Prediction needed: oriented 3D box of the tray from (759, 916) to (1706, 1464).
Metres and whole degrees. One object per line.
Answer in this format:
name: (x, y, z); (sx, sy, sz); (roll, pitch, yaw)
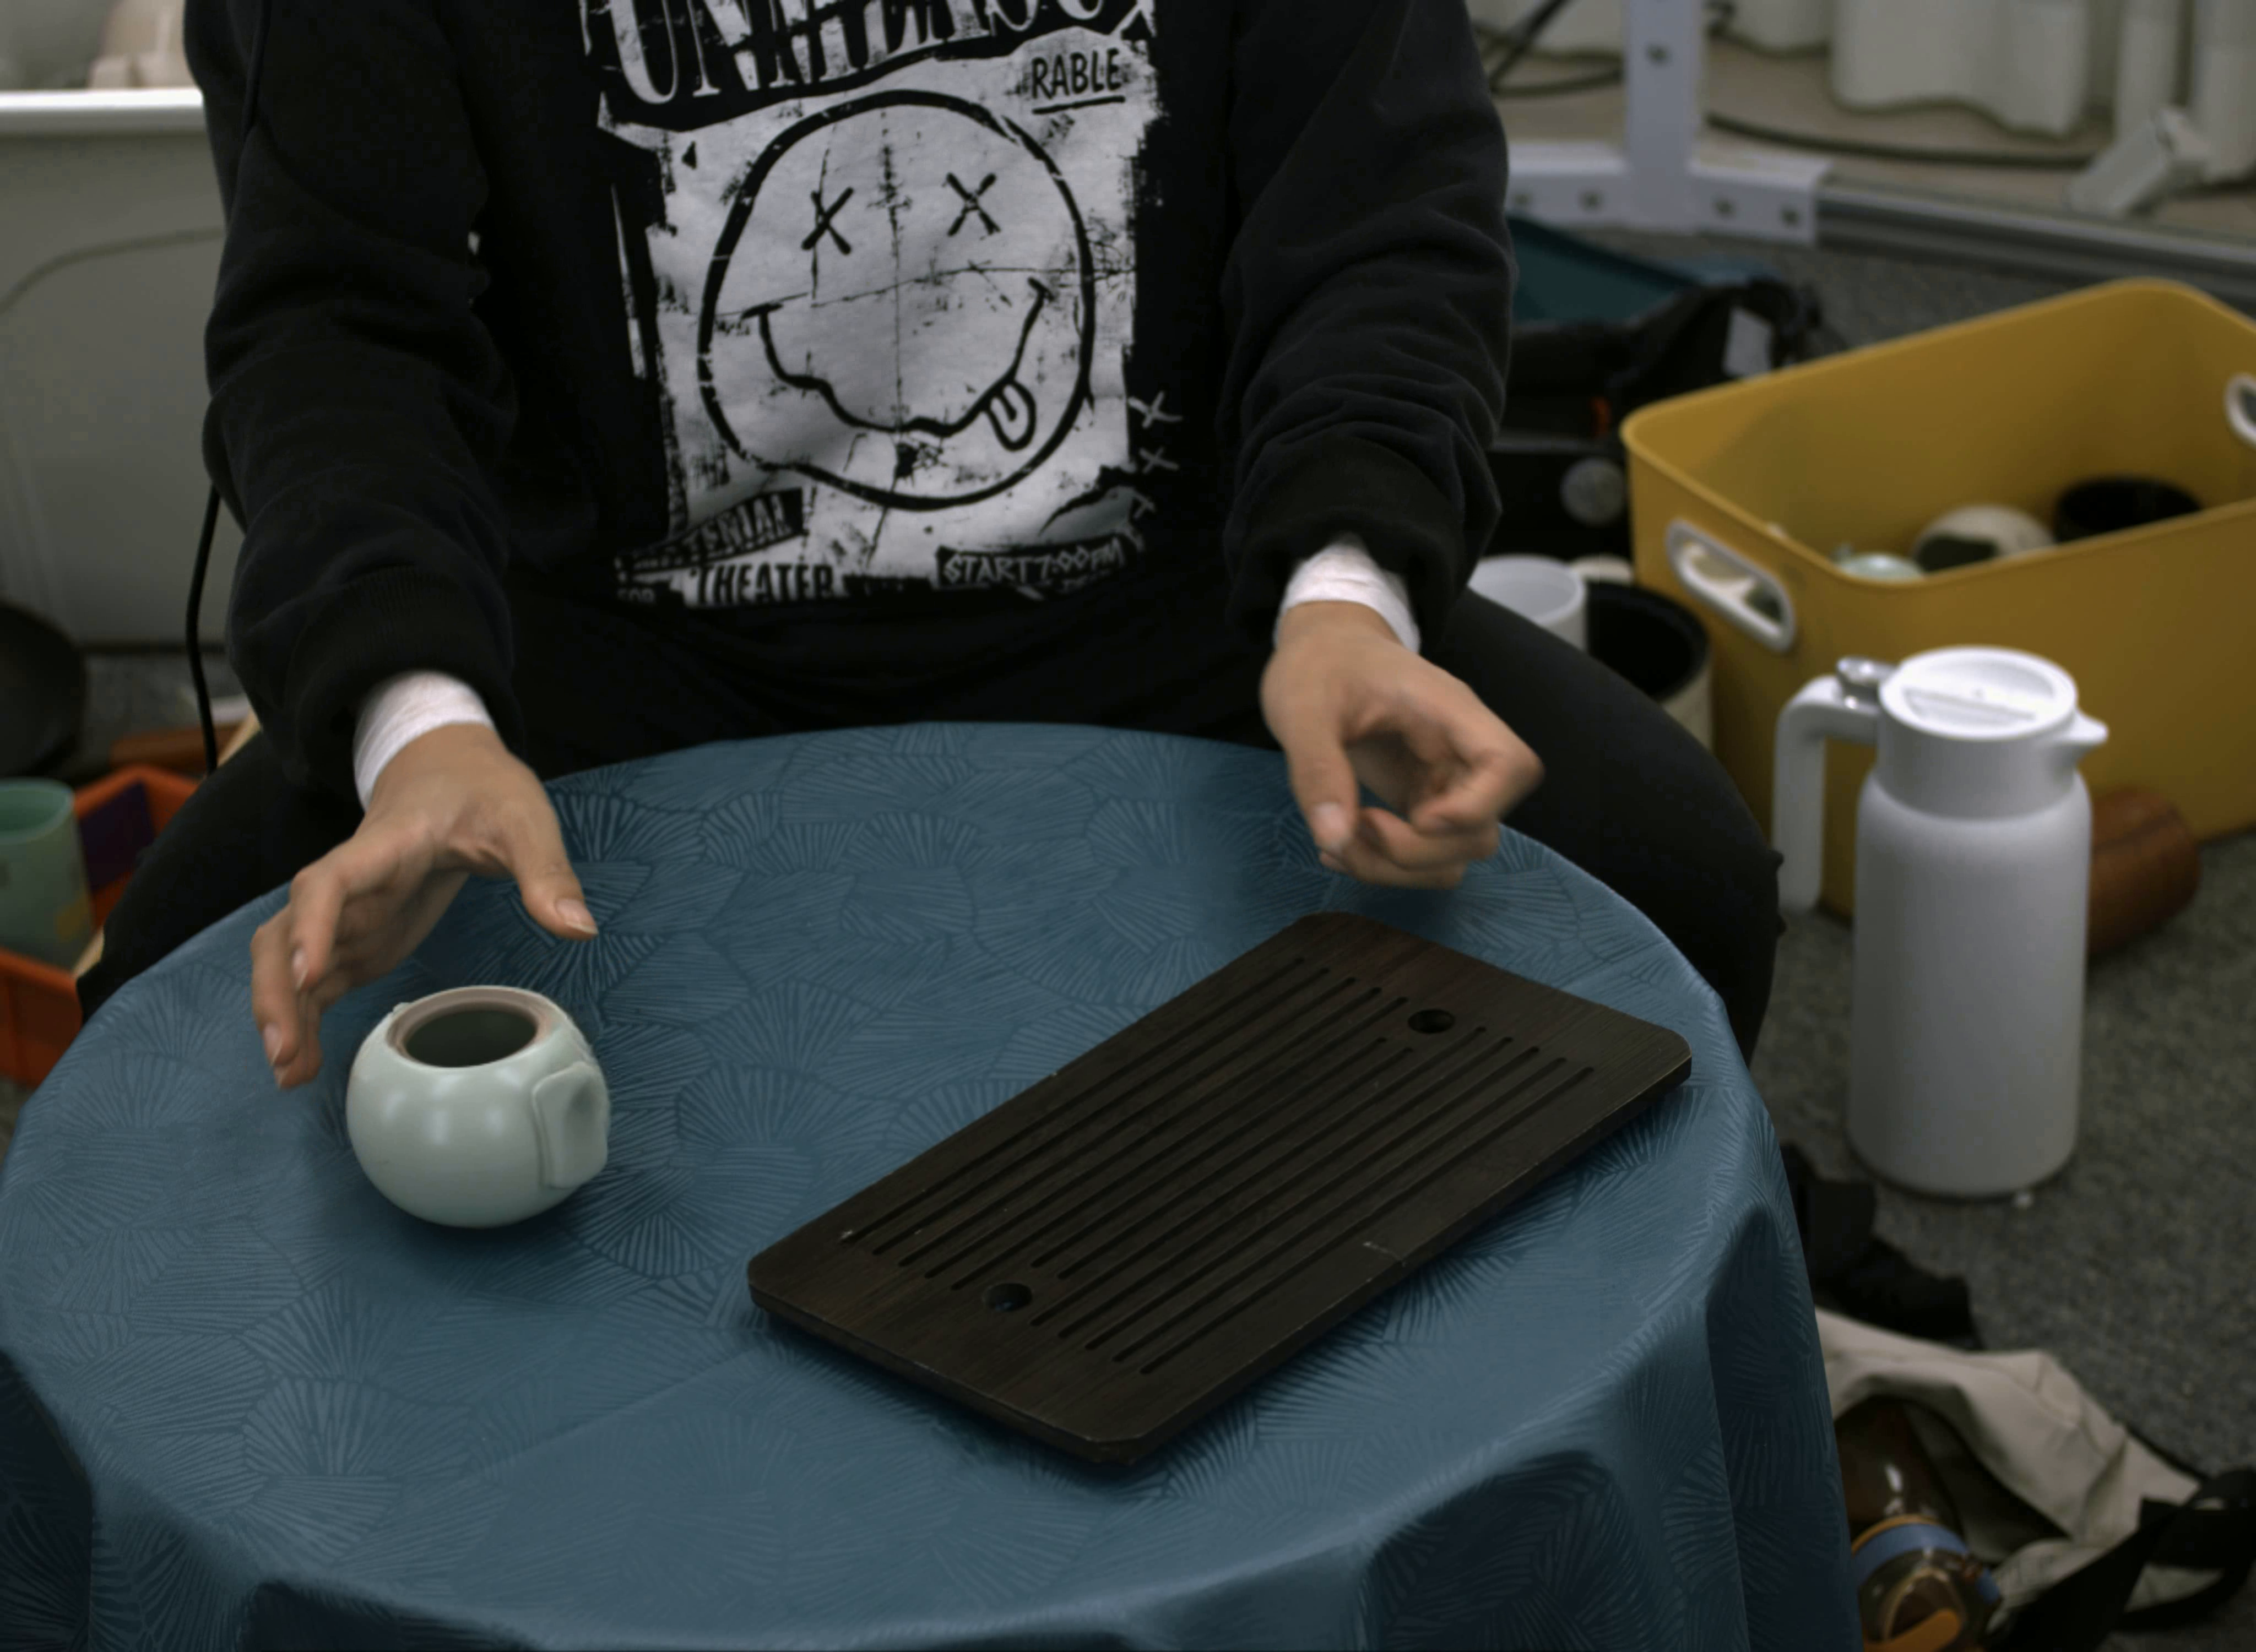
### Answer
tray: (0.038, 0.116, 1.846); (0.169, 0.018, 0.310); (19, 34, 37)

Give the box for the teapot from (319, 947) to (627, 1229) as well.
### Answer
teapot: (-0.215, 0.092, 1.859); (0.143, 0.074, 0.089); (22, 36, 38)
